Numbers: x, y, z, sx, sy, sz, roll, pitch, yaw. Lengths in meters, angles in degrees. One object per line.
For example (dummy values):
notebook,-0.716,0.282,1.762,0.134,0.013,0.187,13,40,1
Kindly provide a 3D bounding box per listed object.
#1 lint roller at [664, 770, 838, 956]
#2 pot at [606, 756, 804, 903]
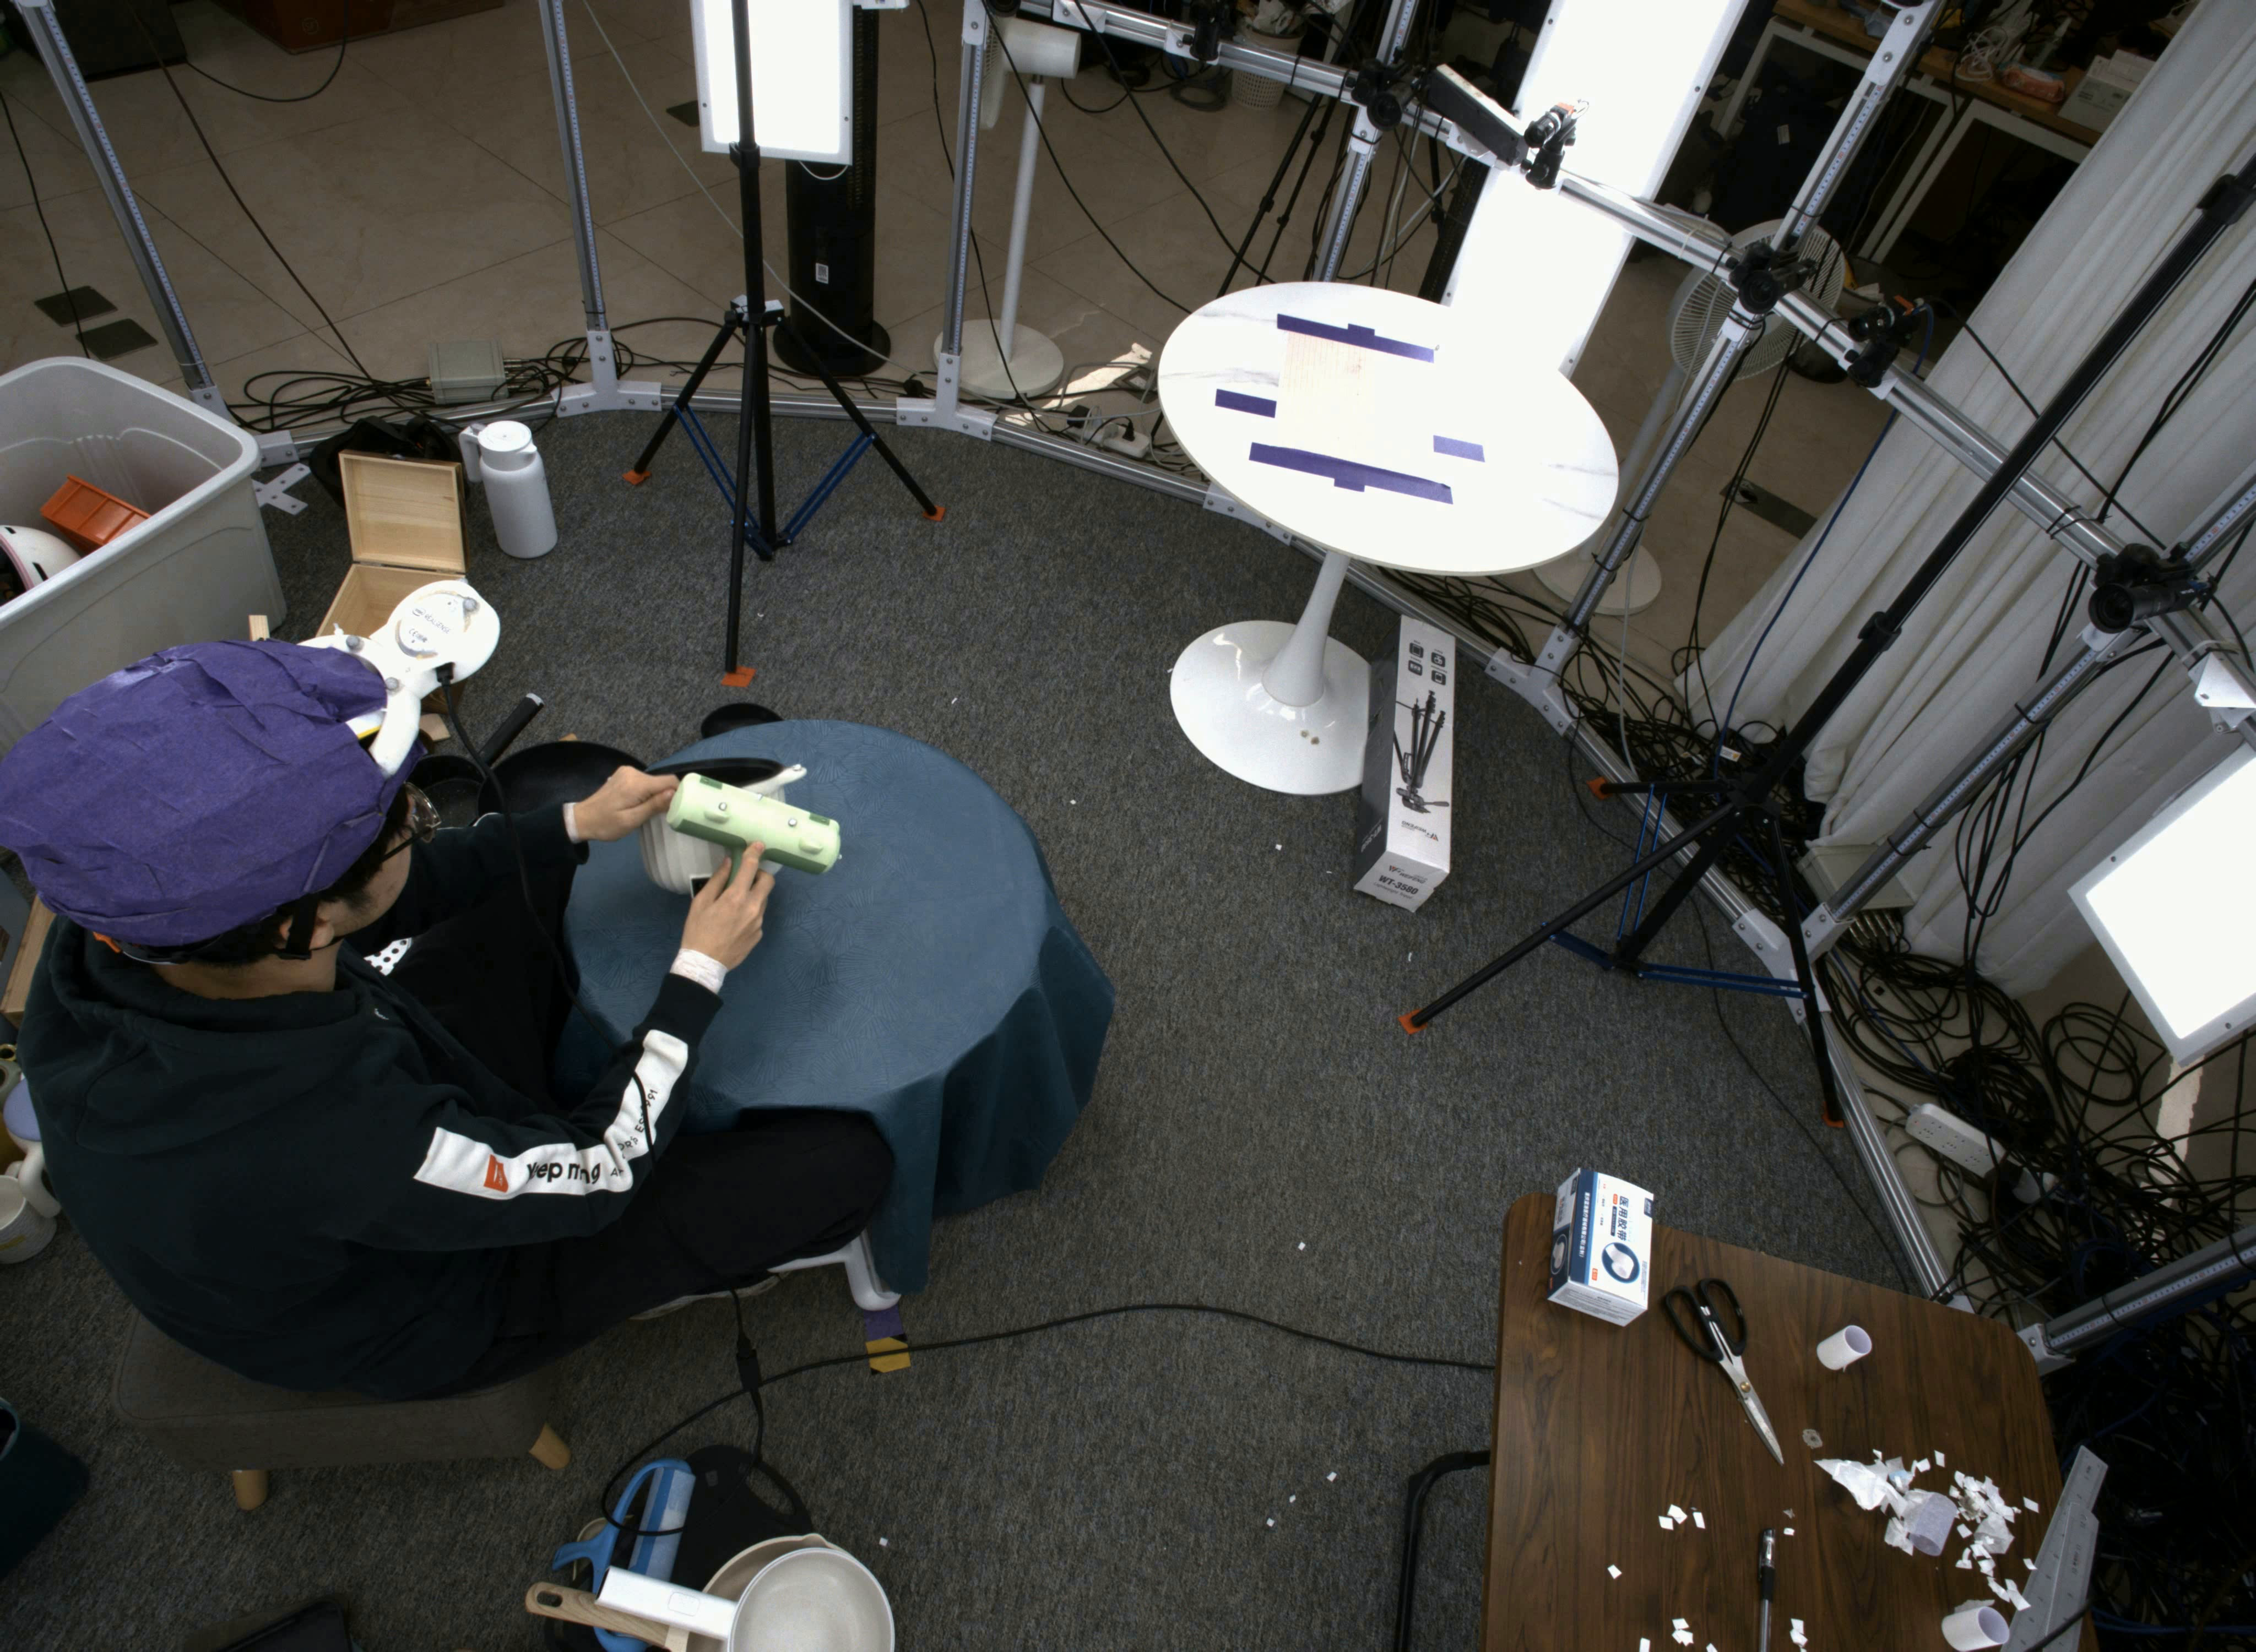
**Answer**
lint roller,-0.432,0.051,1.462,0.204,0.080,0.182,22,67,-37
pot,-0.511,-0.001,1.578,0.239,0.146,0.186,-4,20,-9
